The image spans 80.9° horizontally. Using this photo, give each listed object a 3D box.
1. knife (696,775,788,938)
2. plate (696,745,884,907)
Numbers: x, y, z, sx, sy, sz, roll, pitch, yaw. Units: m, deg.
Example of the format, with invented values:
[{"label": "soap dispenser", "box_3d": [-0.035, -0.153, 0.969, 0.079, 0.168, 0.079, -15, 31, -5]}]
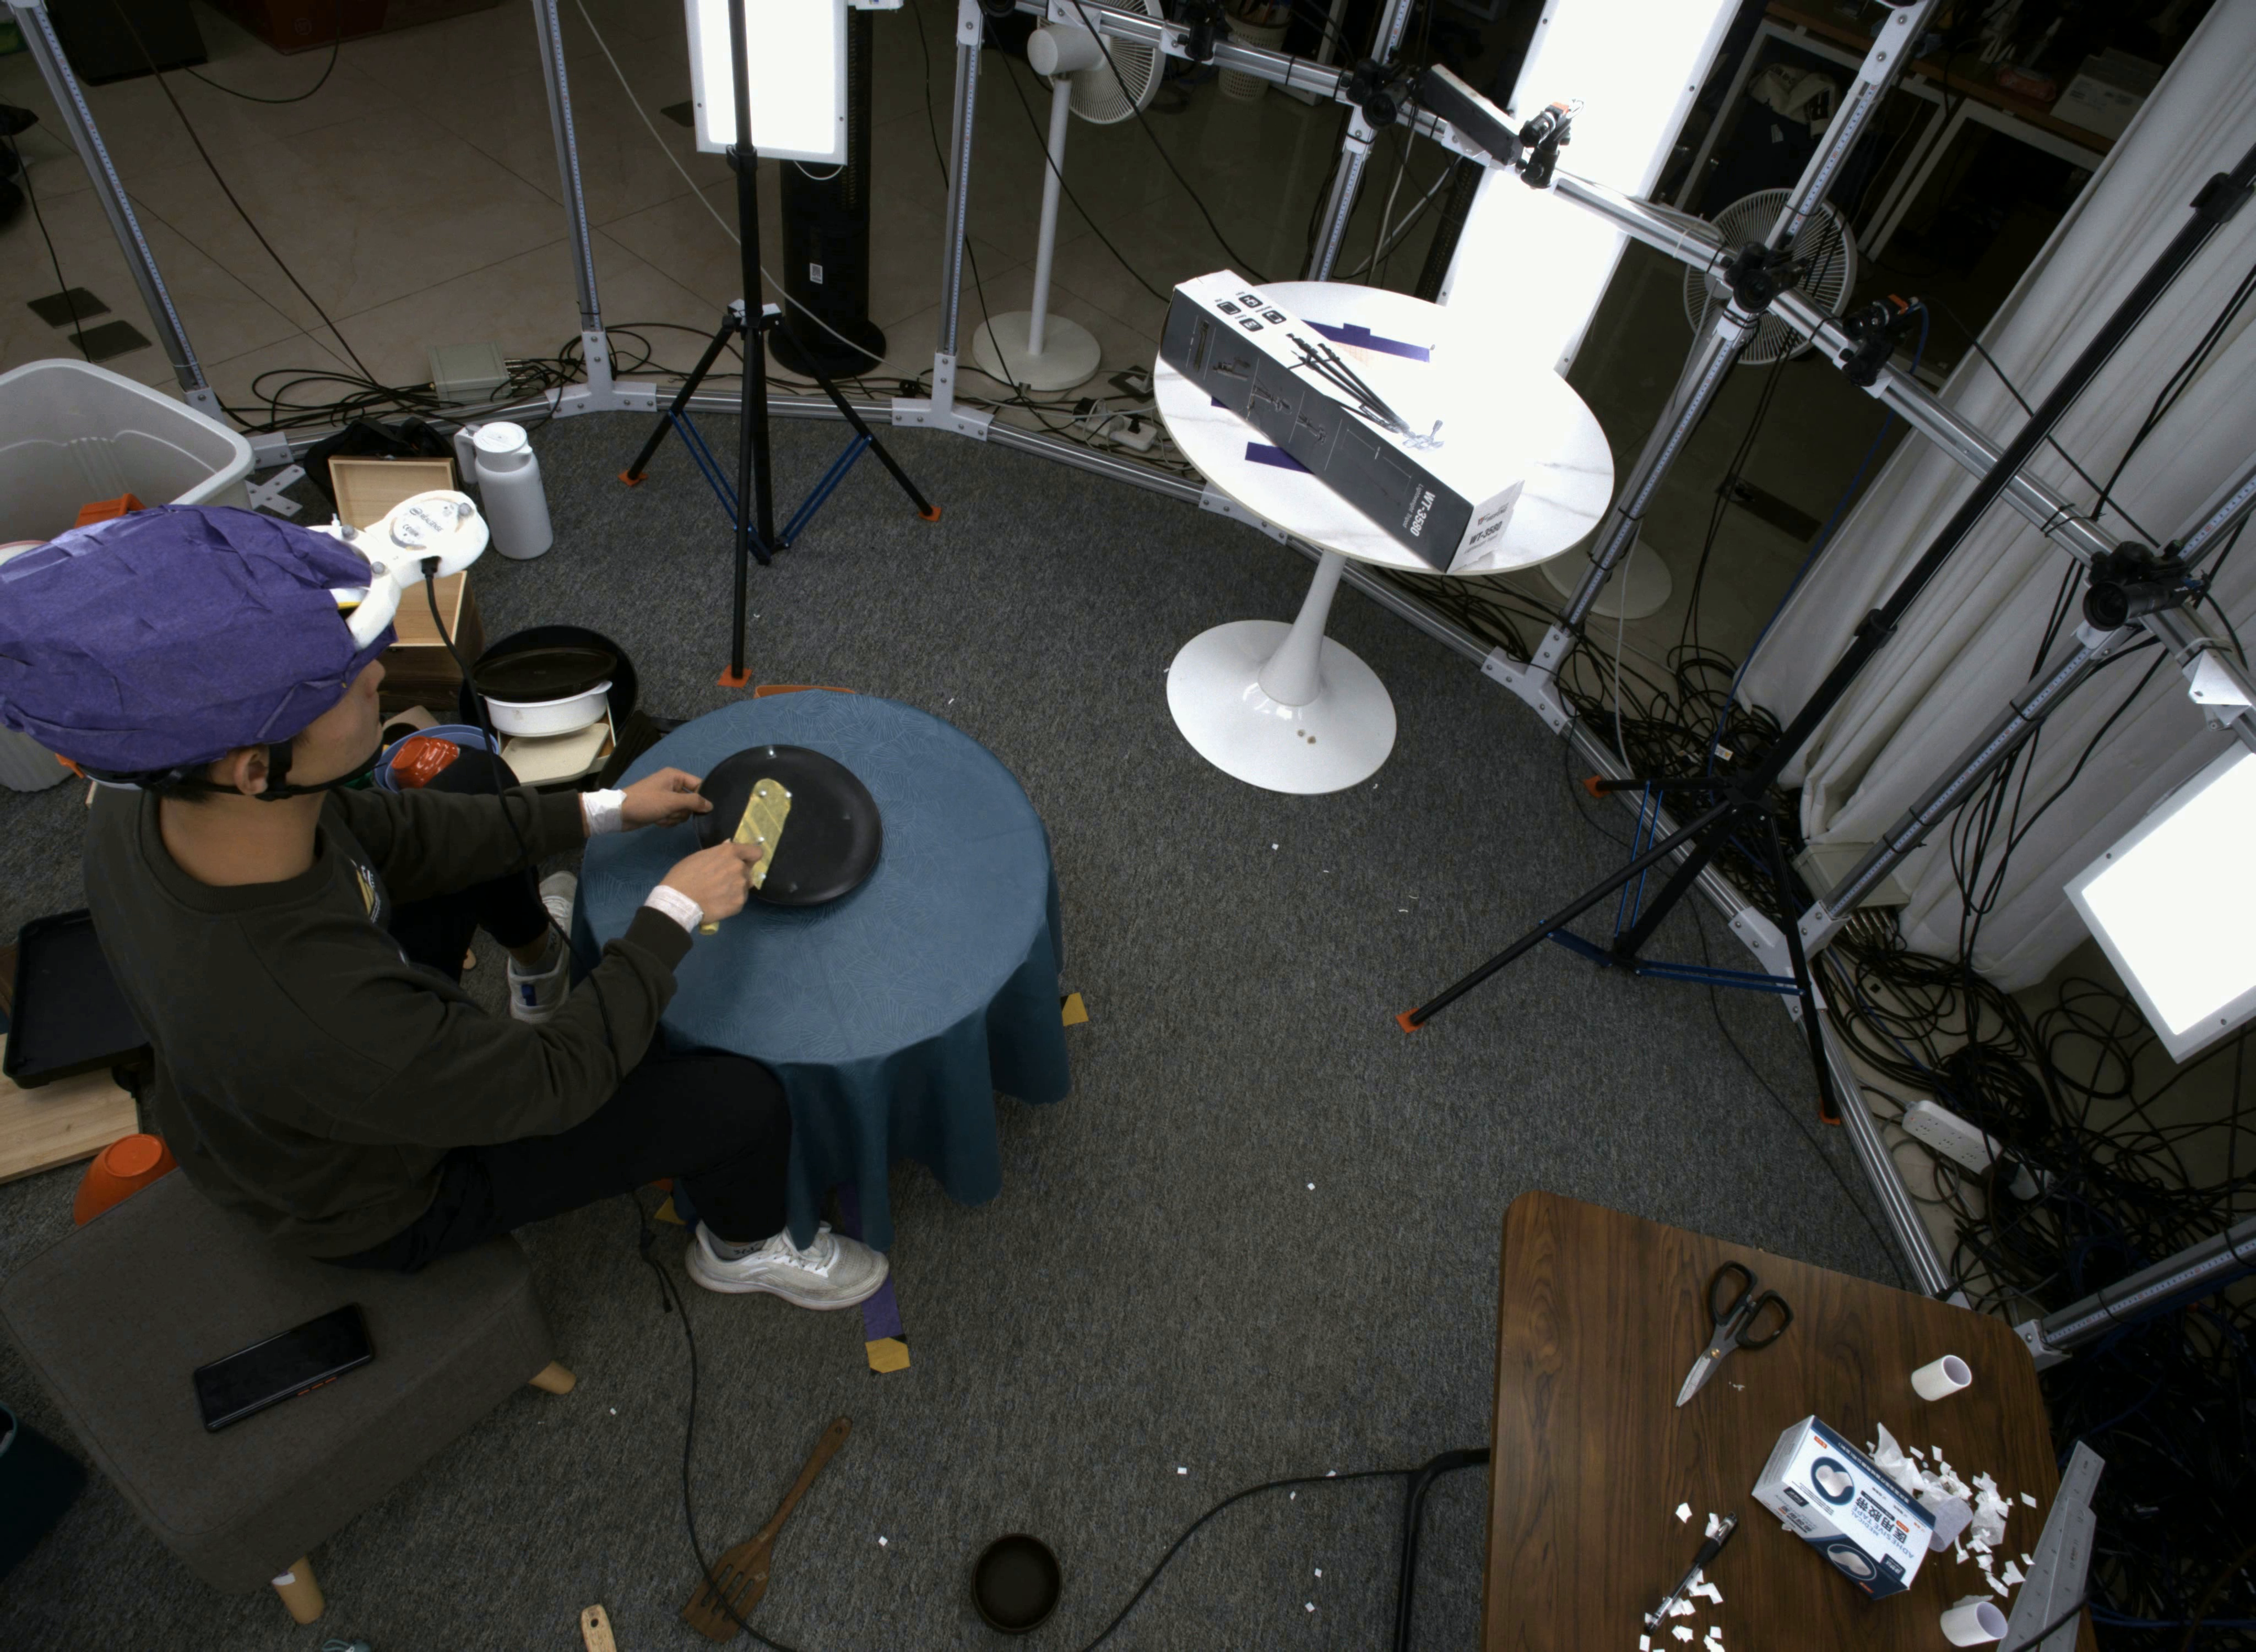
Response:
[{"label": "knife", "box_3d": [-0.469, 0.036, 1.594, 0.026, 0.084, 0.284, -12, 38, 19]}, {"label": "plate", "box_3d": [-0.440, 0.000, 1.690, 0.247, 0.023, 0.240, 16, 54, -20]}]
